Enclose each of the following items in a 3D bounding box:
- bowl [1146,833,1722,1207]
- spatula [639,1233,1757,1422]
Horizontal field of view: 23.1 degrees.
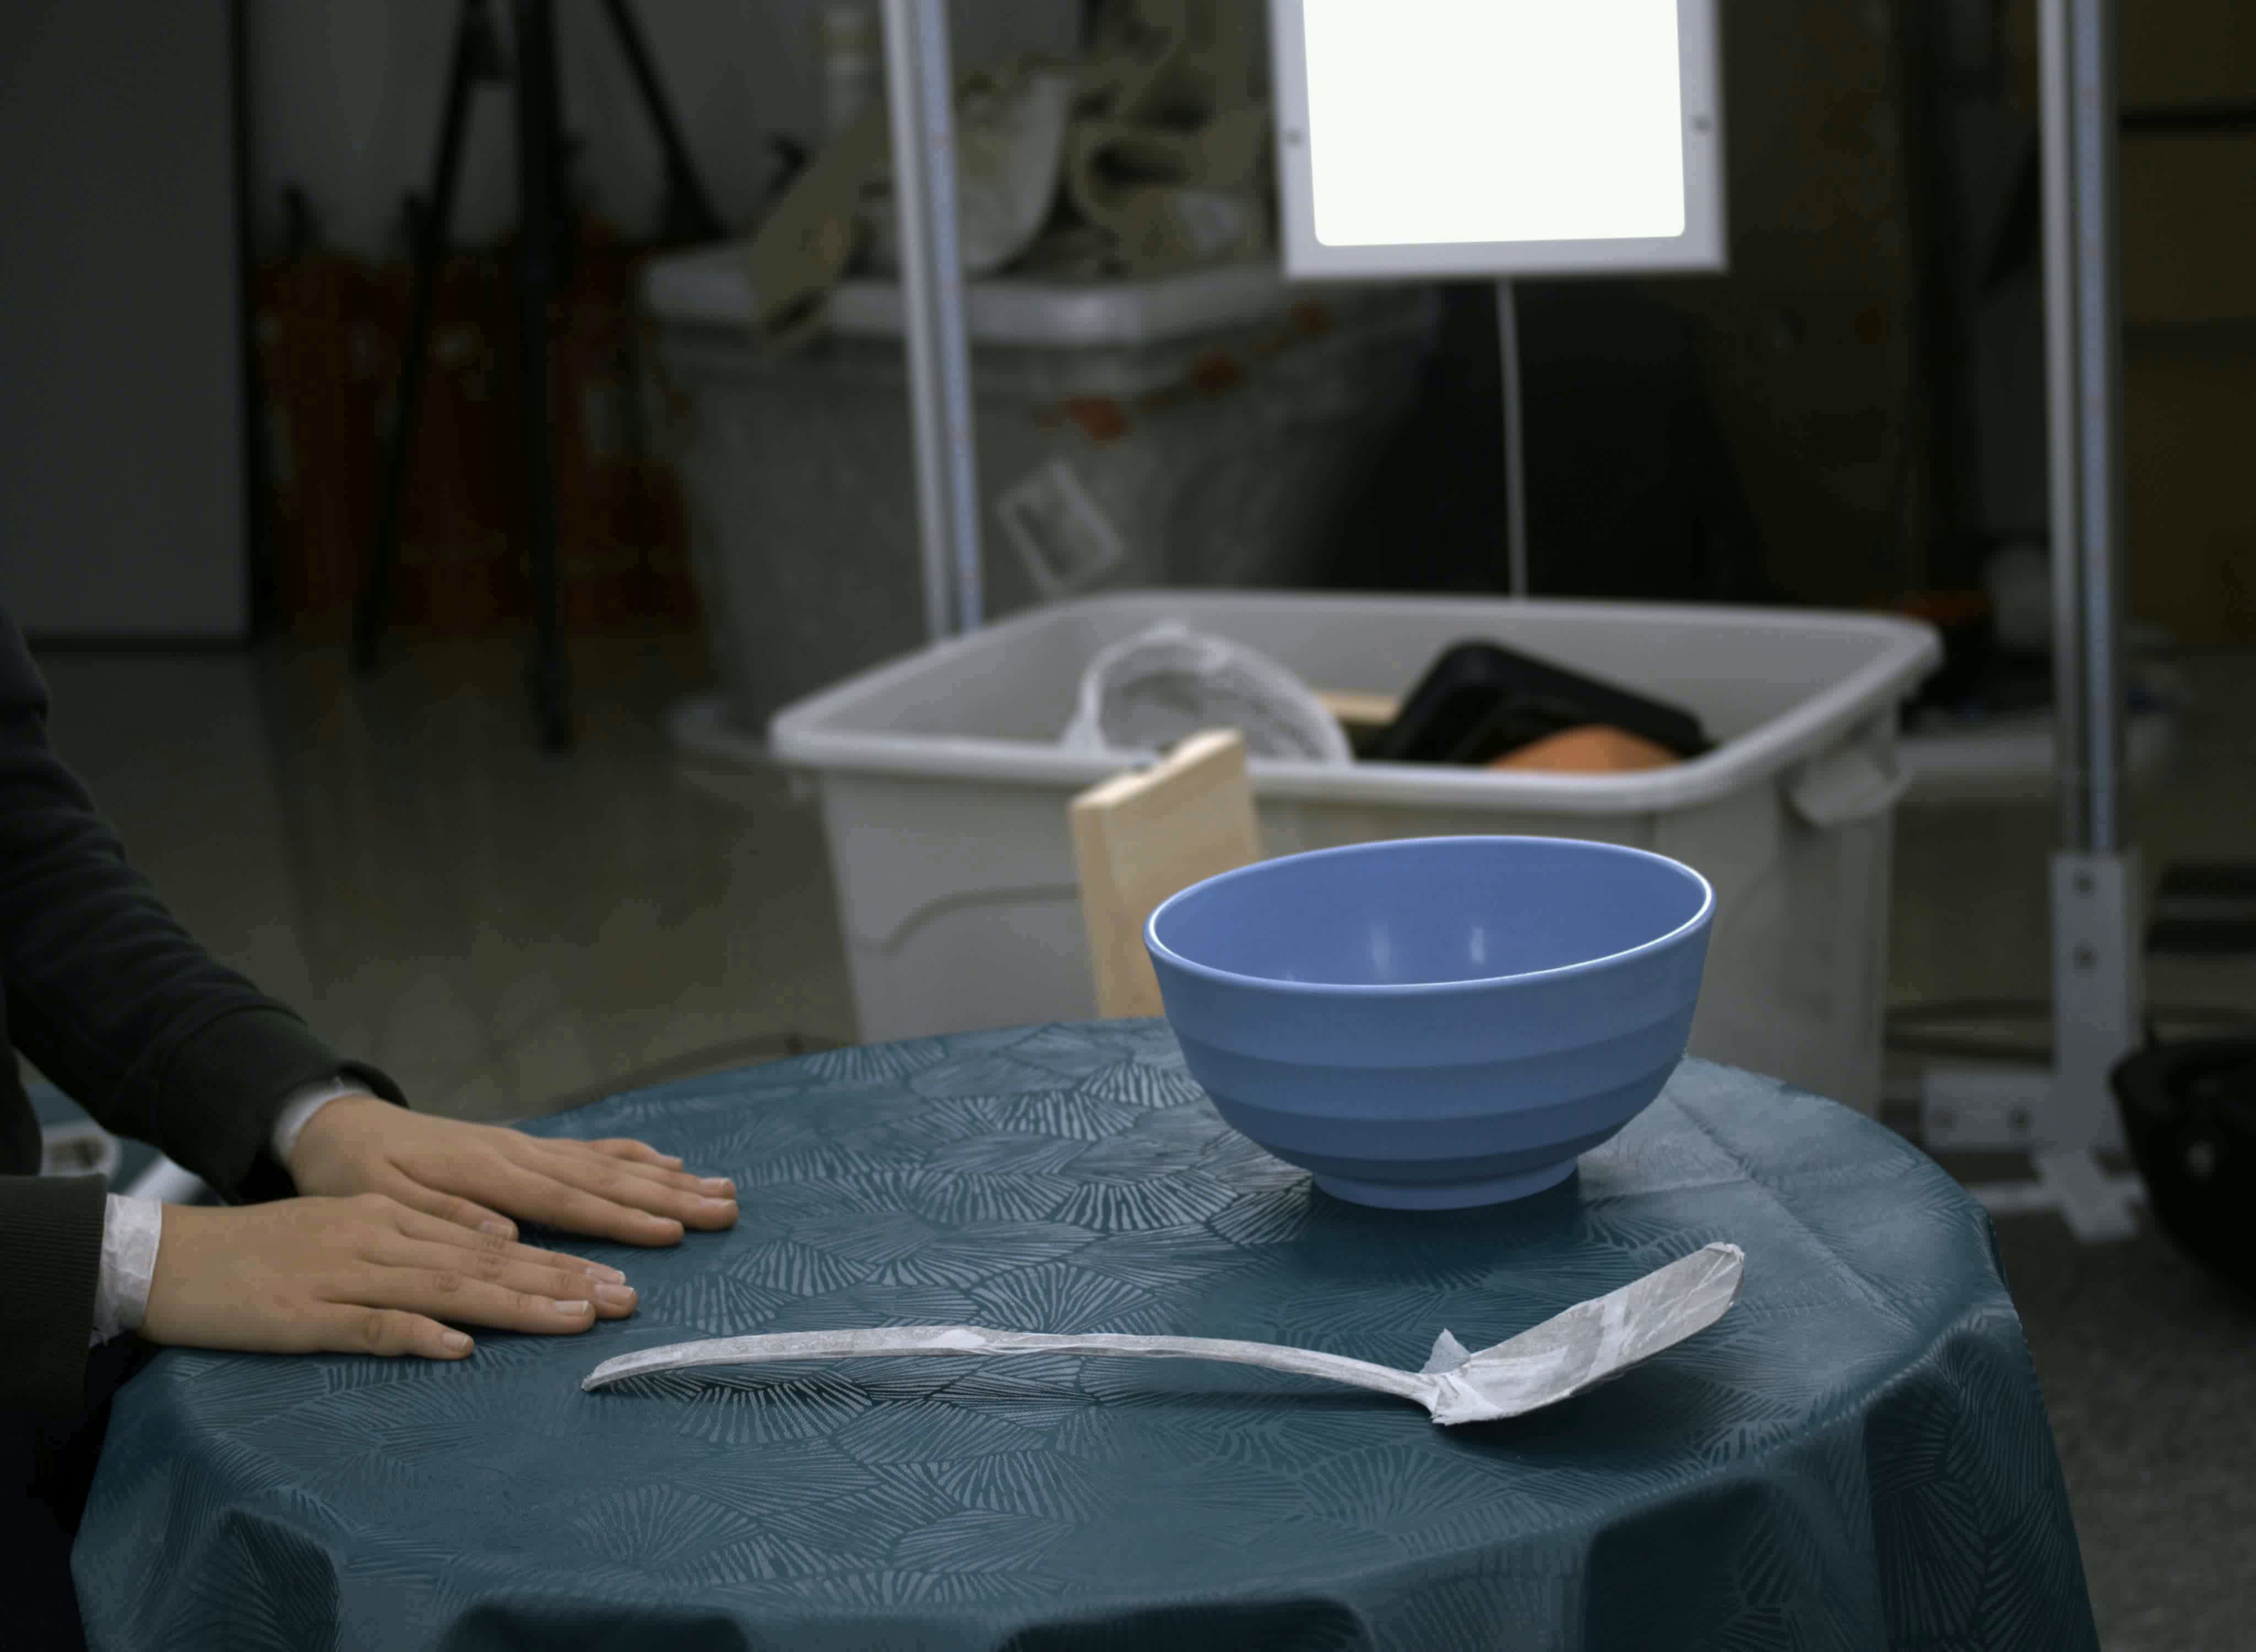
[{"bbox_3d":[0.105,0.071,1.880,0.196,0.096,0.196,-2,14,-1],"label":"bowl"},{"bbox_3d":[0.013,0.155,1.694,0.369,0.045,0.097,0,16,19],"label":"spatula"}]
